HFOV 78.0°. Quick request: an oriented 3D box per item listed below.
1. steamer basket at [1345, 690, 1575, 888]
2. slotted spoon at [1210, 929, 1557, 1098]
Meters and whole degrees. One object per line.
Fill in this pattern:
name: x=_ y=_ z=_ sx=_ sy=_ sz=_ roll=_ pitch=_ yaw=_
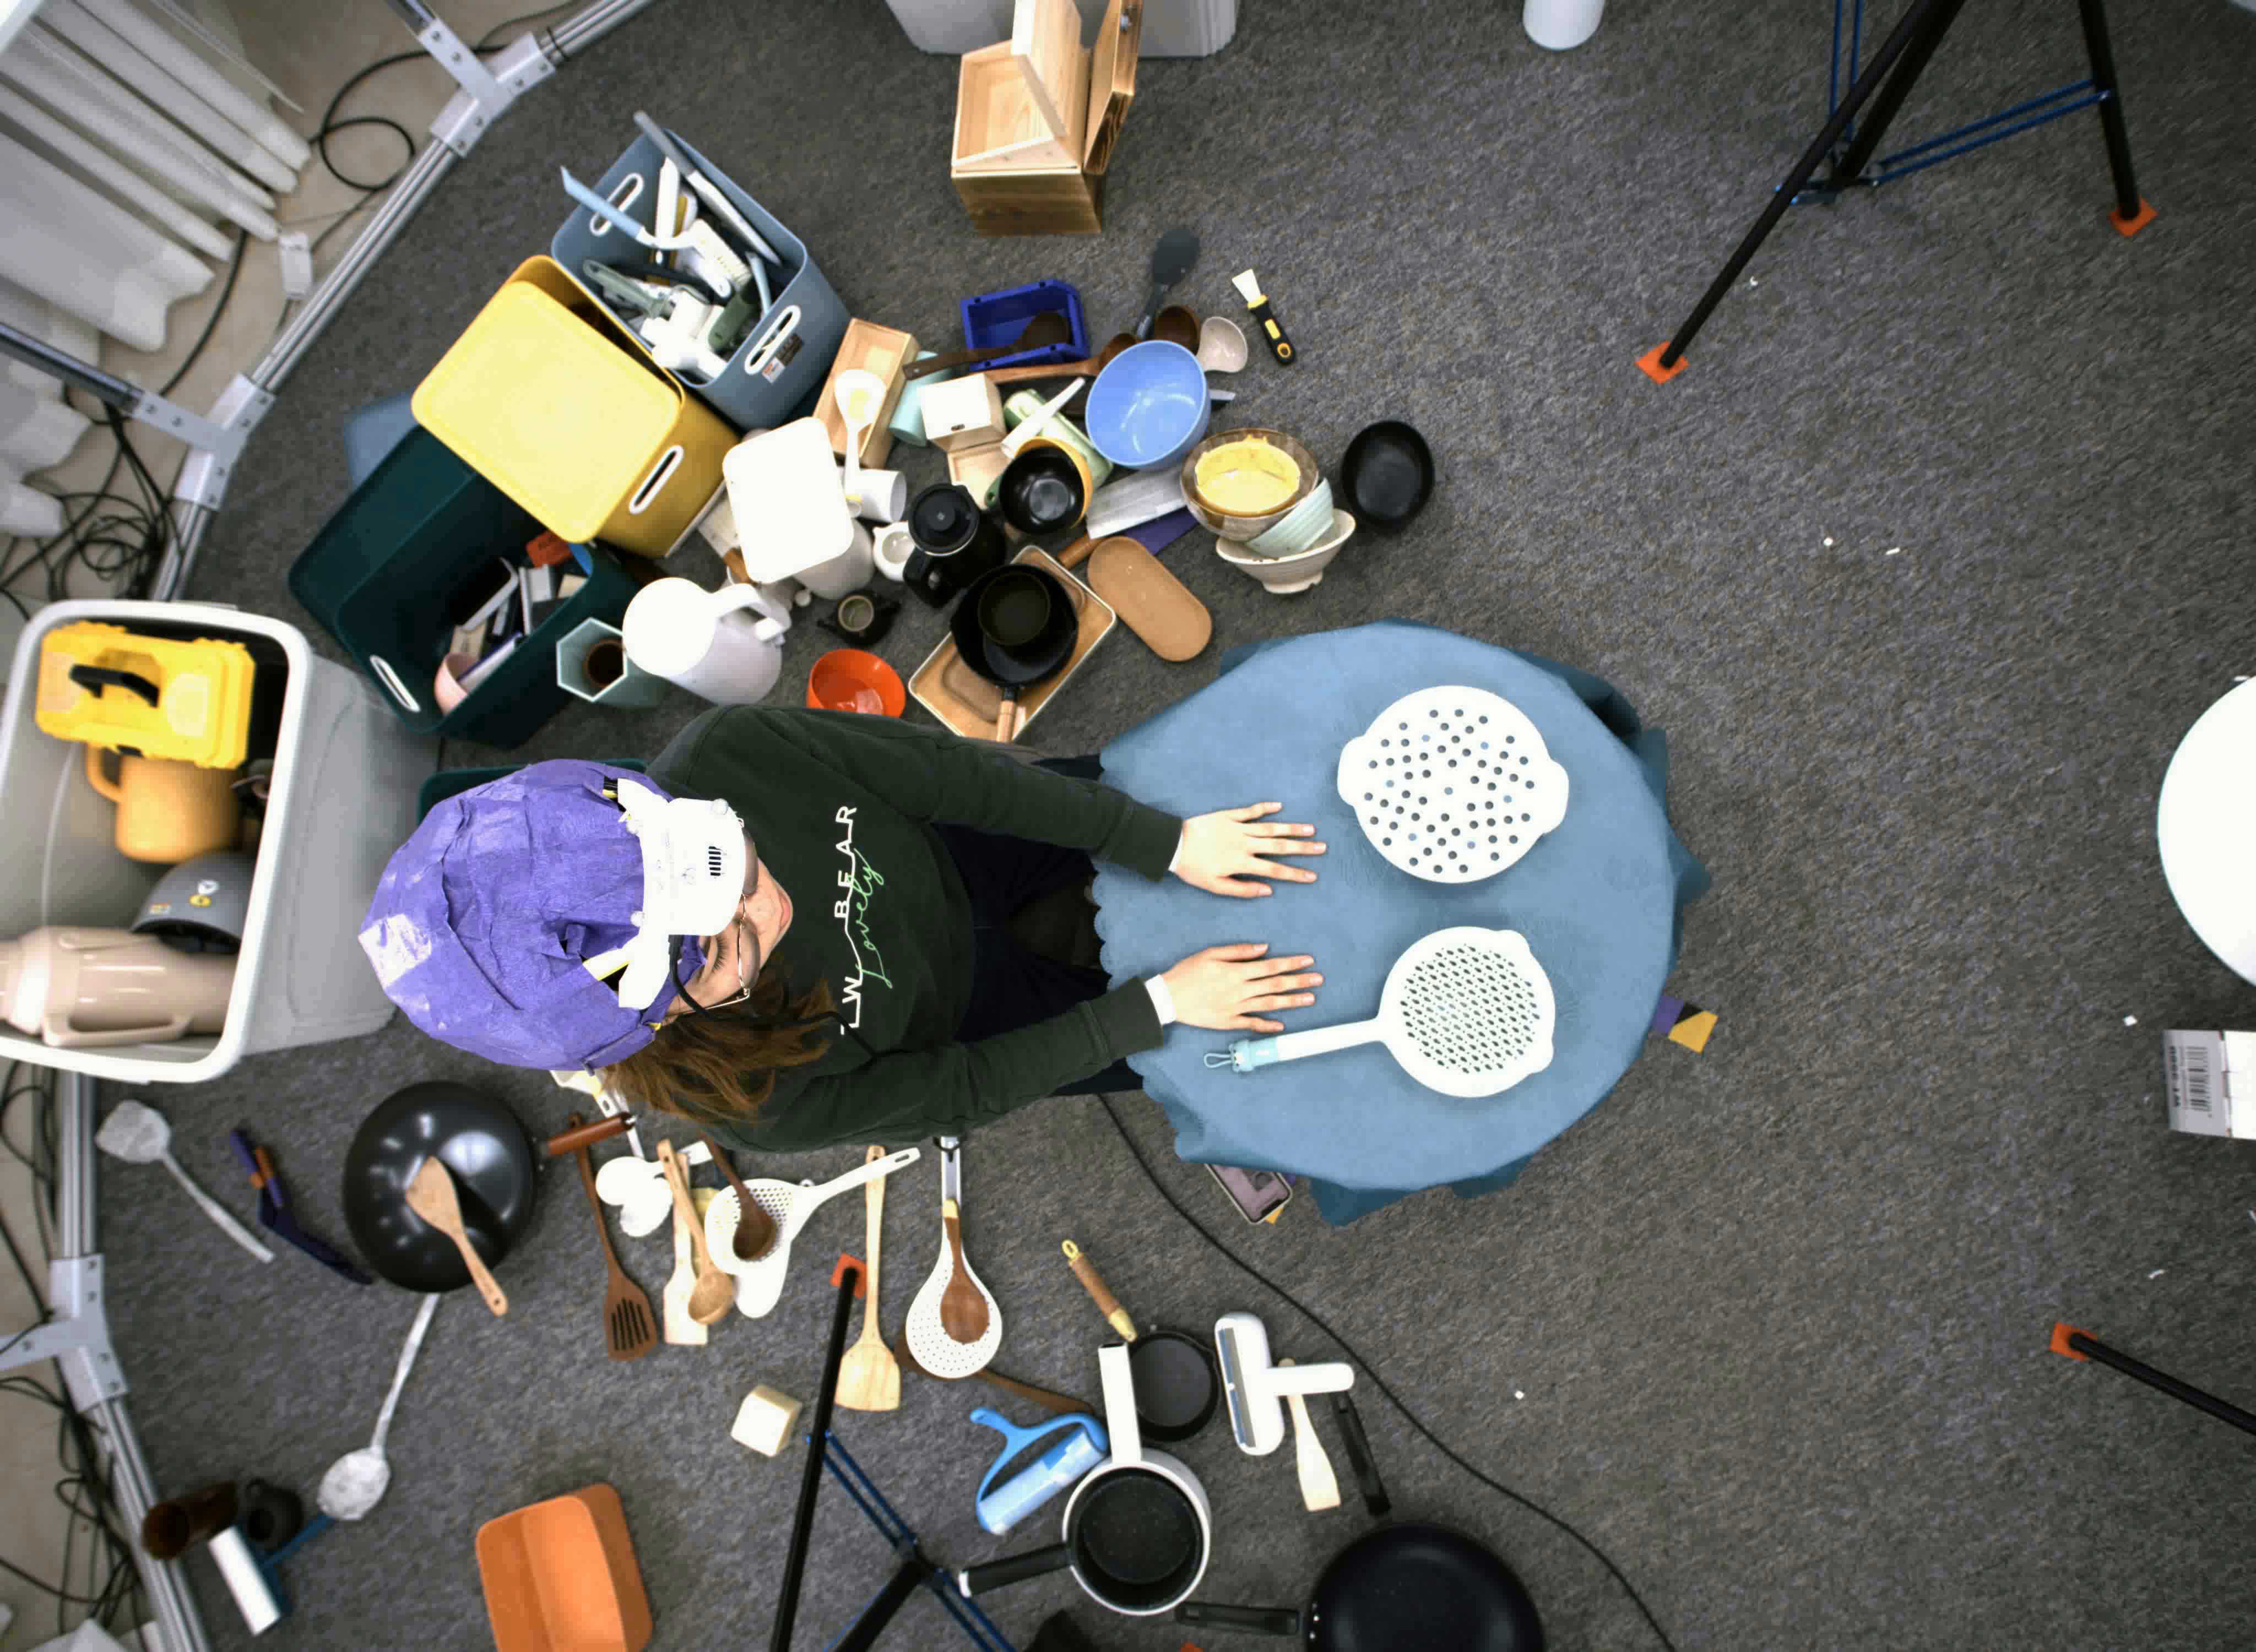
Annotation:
steamer basket: x=0.341 y=-0.038 z=1.427 sx=0.231 sy=0.069 sz=0.201 roll=7 pitch=86 yaw=11
slotted spoon: x=0.256 y=0.210 z=1.426 sx=0.361 sy=0.075 sz=0.168 roll=-13 pitch=83 yaw=10
